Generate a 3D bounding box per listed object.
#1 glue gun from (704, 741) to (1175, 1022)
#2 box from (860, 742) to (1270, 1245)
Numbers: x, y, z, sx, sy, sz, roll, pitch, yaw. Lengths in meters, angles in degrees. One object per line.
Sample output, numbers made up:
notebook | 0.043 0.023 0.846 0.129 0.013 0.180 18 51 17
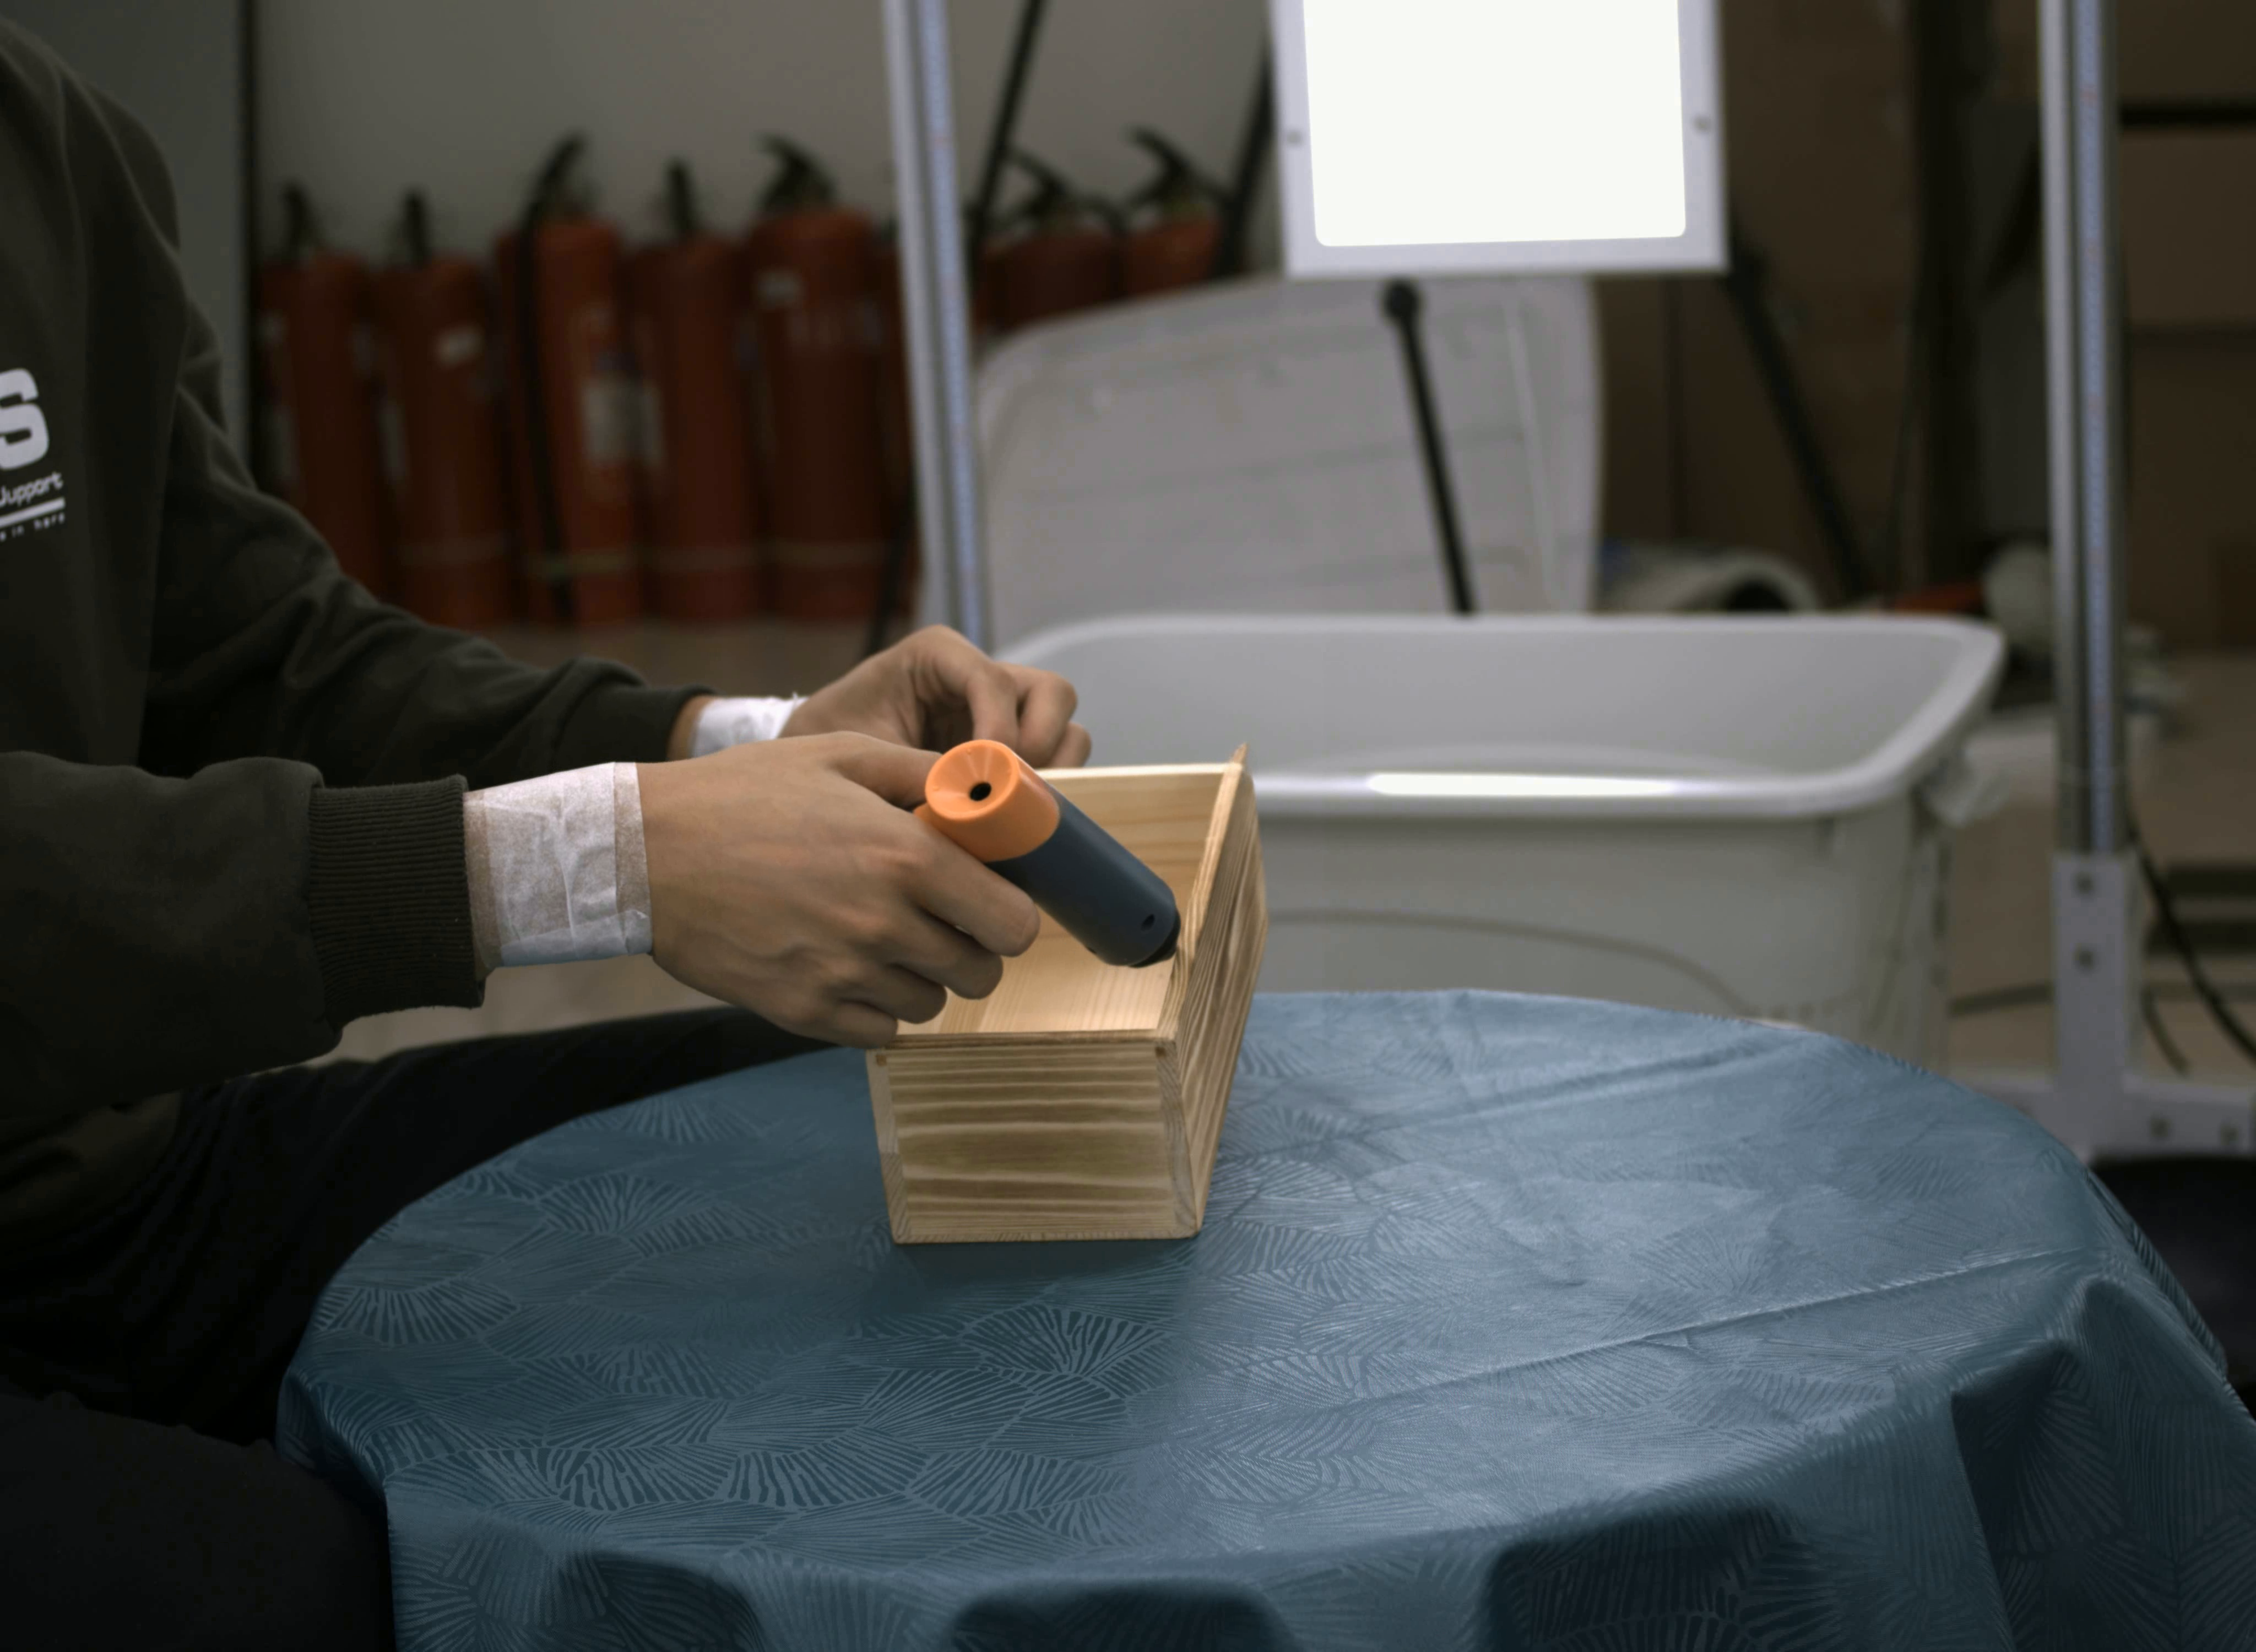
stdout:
glue gun | -0.062 0.025 1.835 0.141 0.117 0.041 -12 51 14
box | -0.018 0.056 1.927 0.108 0.080 0.209 -3 28 11
